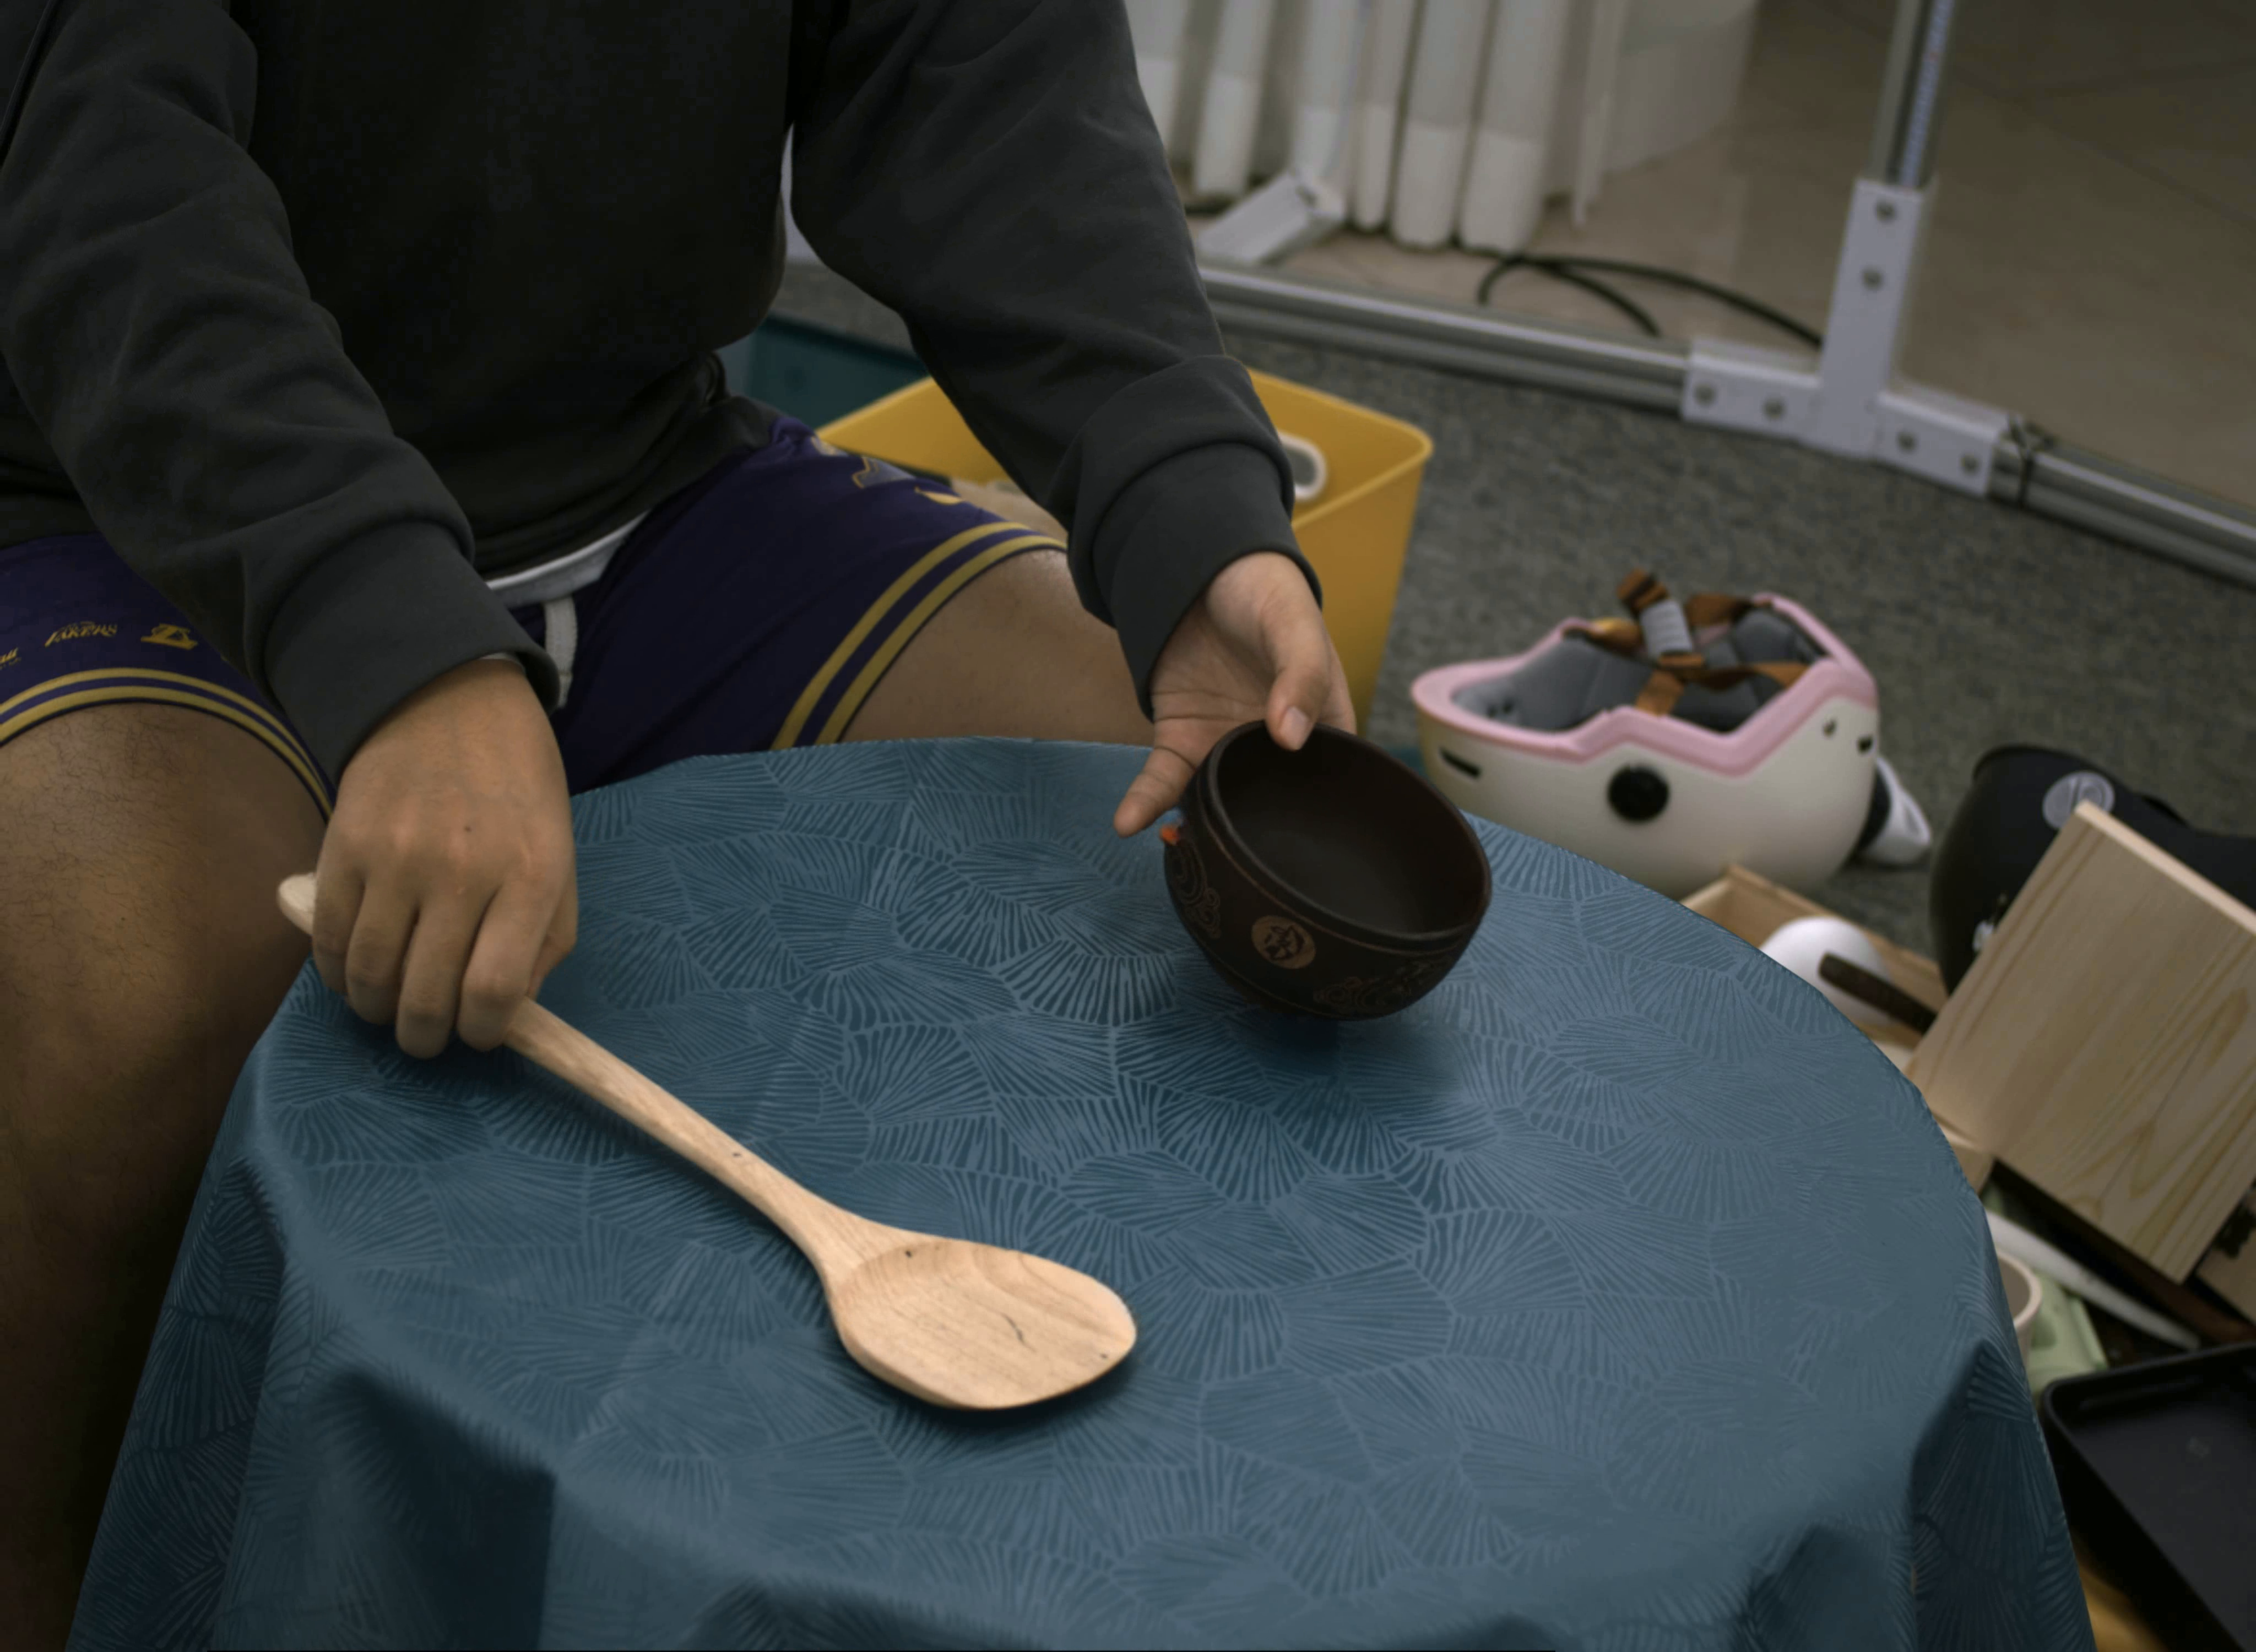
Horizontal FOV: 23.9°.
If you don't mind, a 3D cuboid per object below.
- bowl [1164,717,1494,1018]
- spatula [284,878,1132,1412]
[{"bbox_3d":[0.066,0.024,1.918,0.117,0.070,0.119,20,33,-14],"label":"bowl"},{"bbox_3d":[-0.159,0.100,1.783,0.393,0.018,0.095,30,33,34],"label":"spatula"}]
